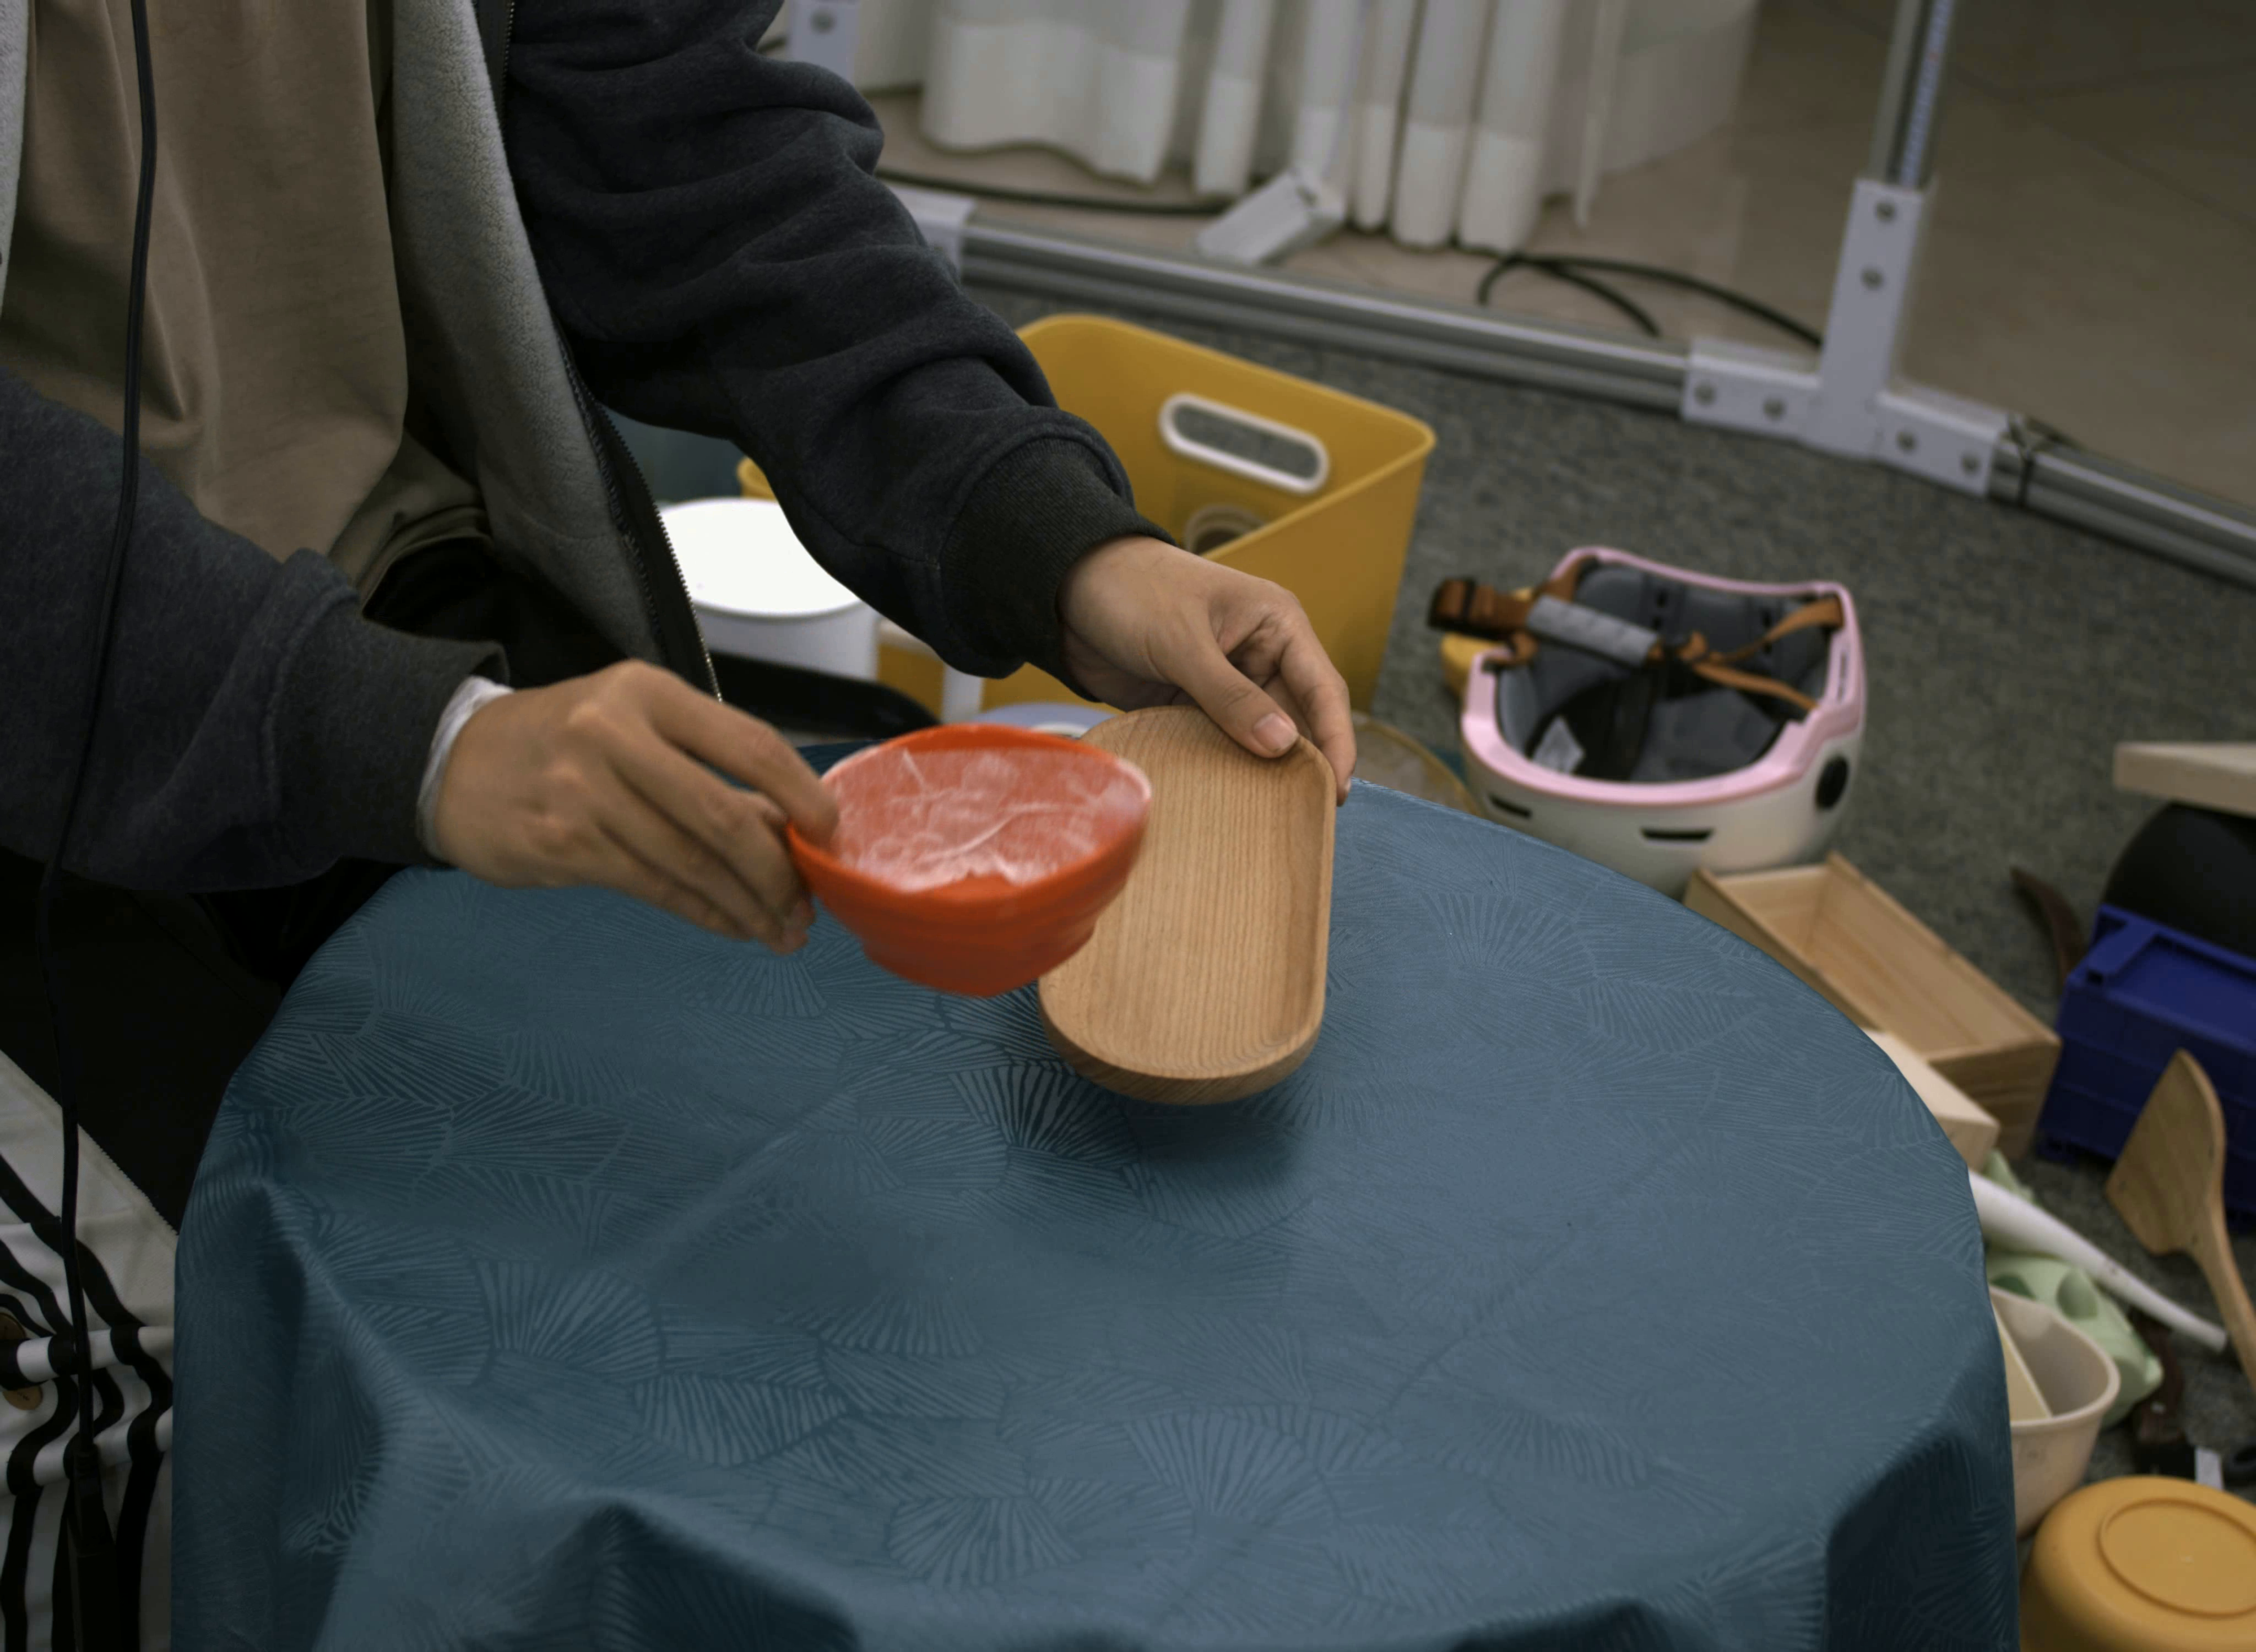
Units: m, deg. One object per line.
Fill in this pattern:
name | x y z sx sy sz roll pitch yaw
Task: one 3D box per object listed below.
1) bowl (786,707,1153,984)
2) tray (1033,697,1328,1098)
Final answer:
bowl | -0.050 0.010 1.720 0.118 0.051 0.119 -3 29 1
tray | 0.020 0.023 1.904 0.101 0.020 0.233 5 34 0
